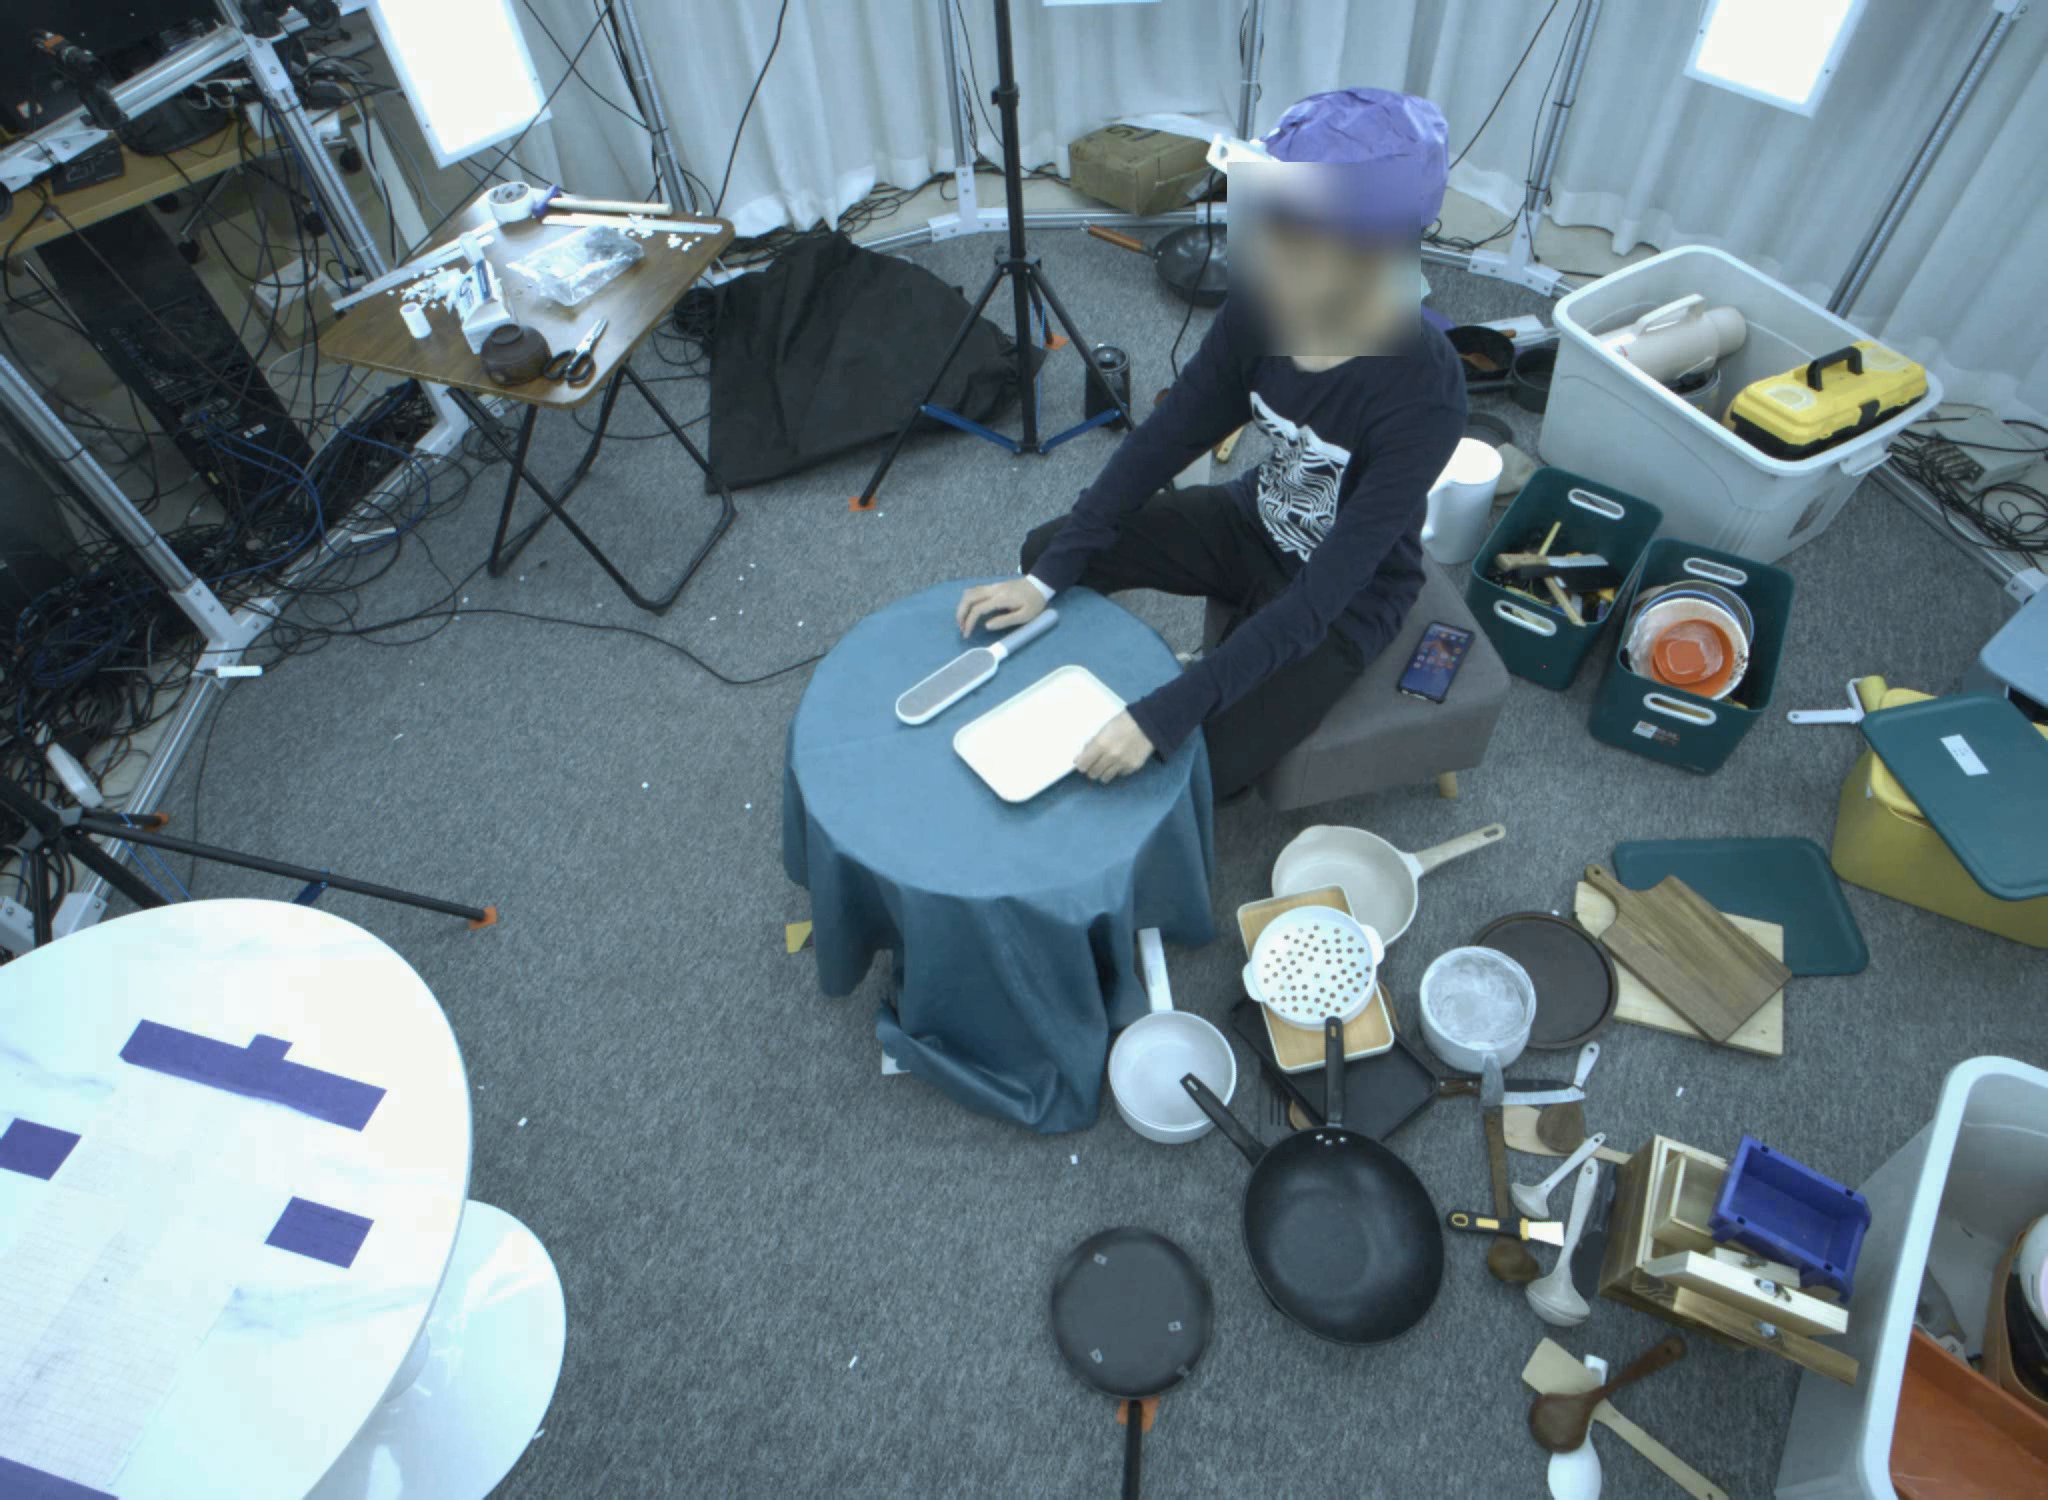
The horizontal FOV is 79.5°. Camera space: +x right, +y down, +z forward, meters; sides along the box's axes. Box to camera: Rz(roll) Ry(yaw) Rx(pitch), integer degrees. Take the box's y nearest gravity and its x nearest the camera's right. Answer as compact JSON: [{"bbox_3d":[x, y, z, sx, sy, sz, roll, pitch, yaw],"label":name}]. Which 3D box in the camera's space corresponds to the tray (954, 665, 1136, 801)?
[{"bbox_3d":[0.031,-0.026,1.792,0.241,0.018,0.167,-33,53,-20],"label":"tray"}]

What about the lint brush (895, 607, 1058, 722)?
[{"bbox_3d":[-0.067,-0.134,1.876,0.311,0.021,0.059,-36,55,-21],"label":"lint brush"}]
